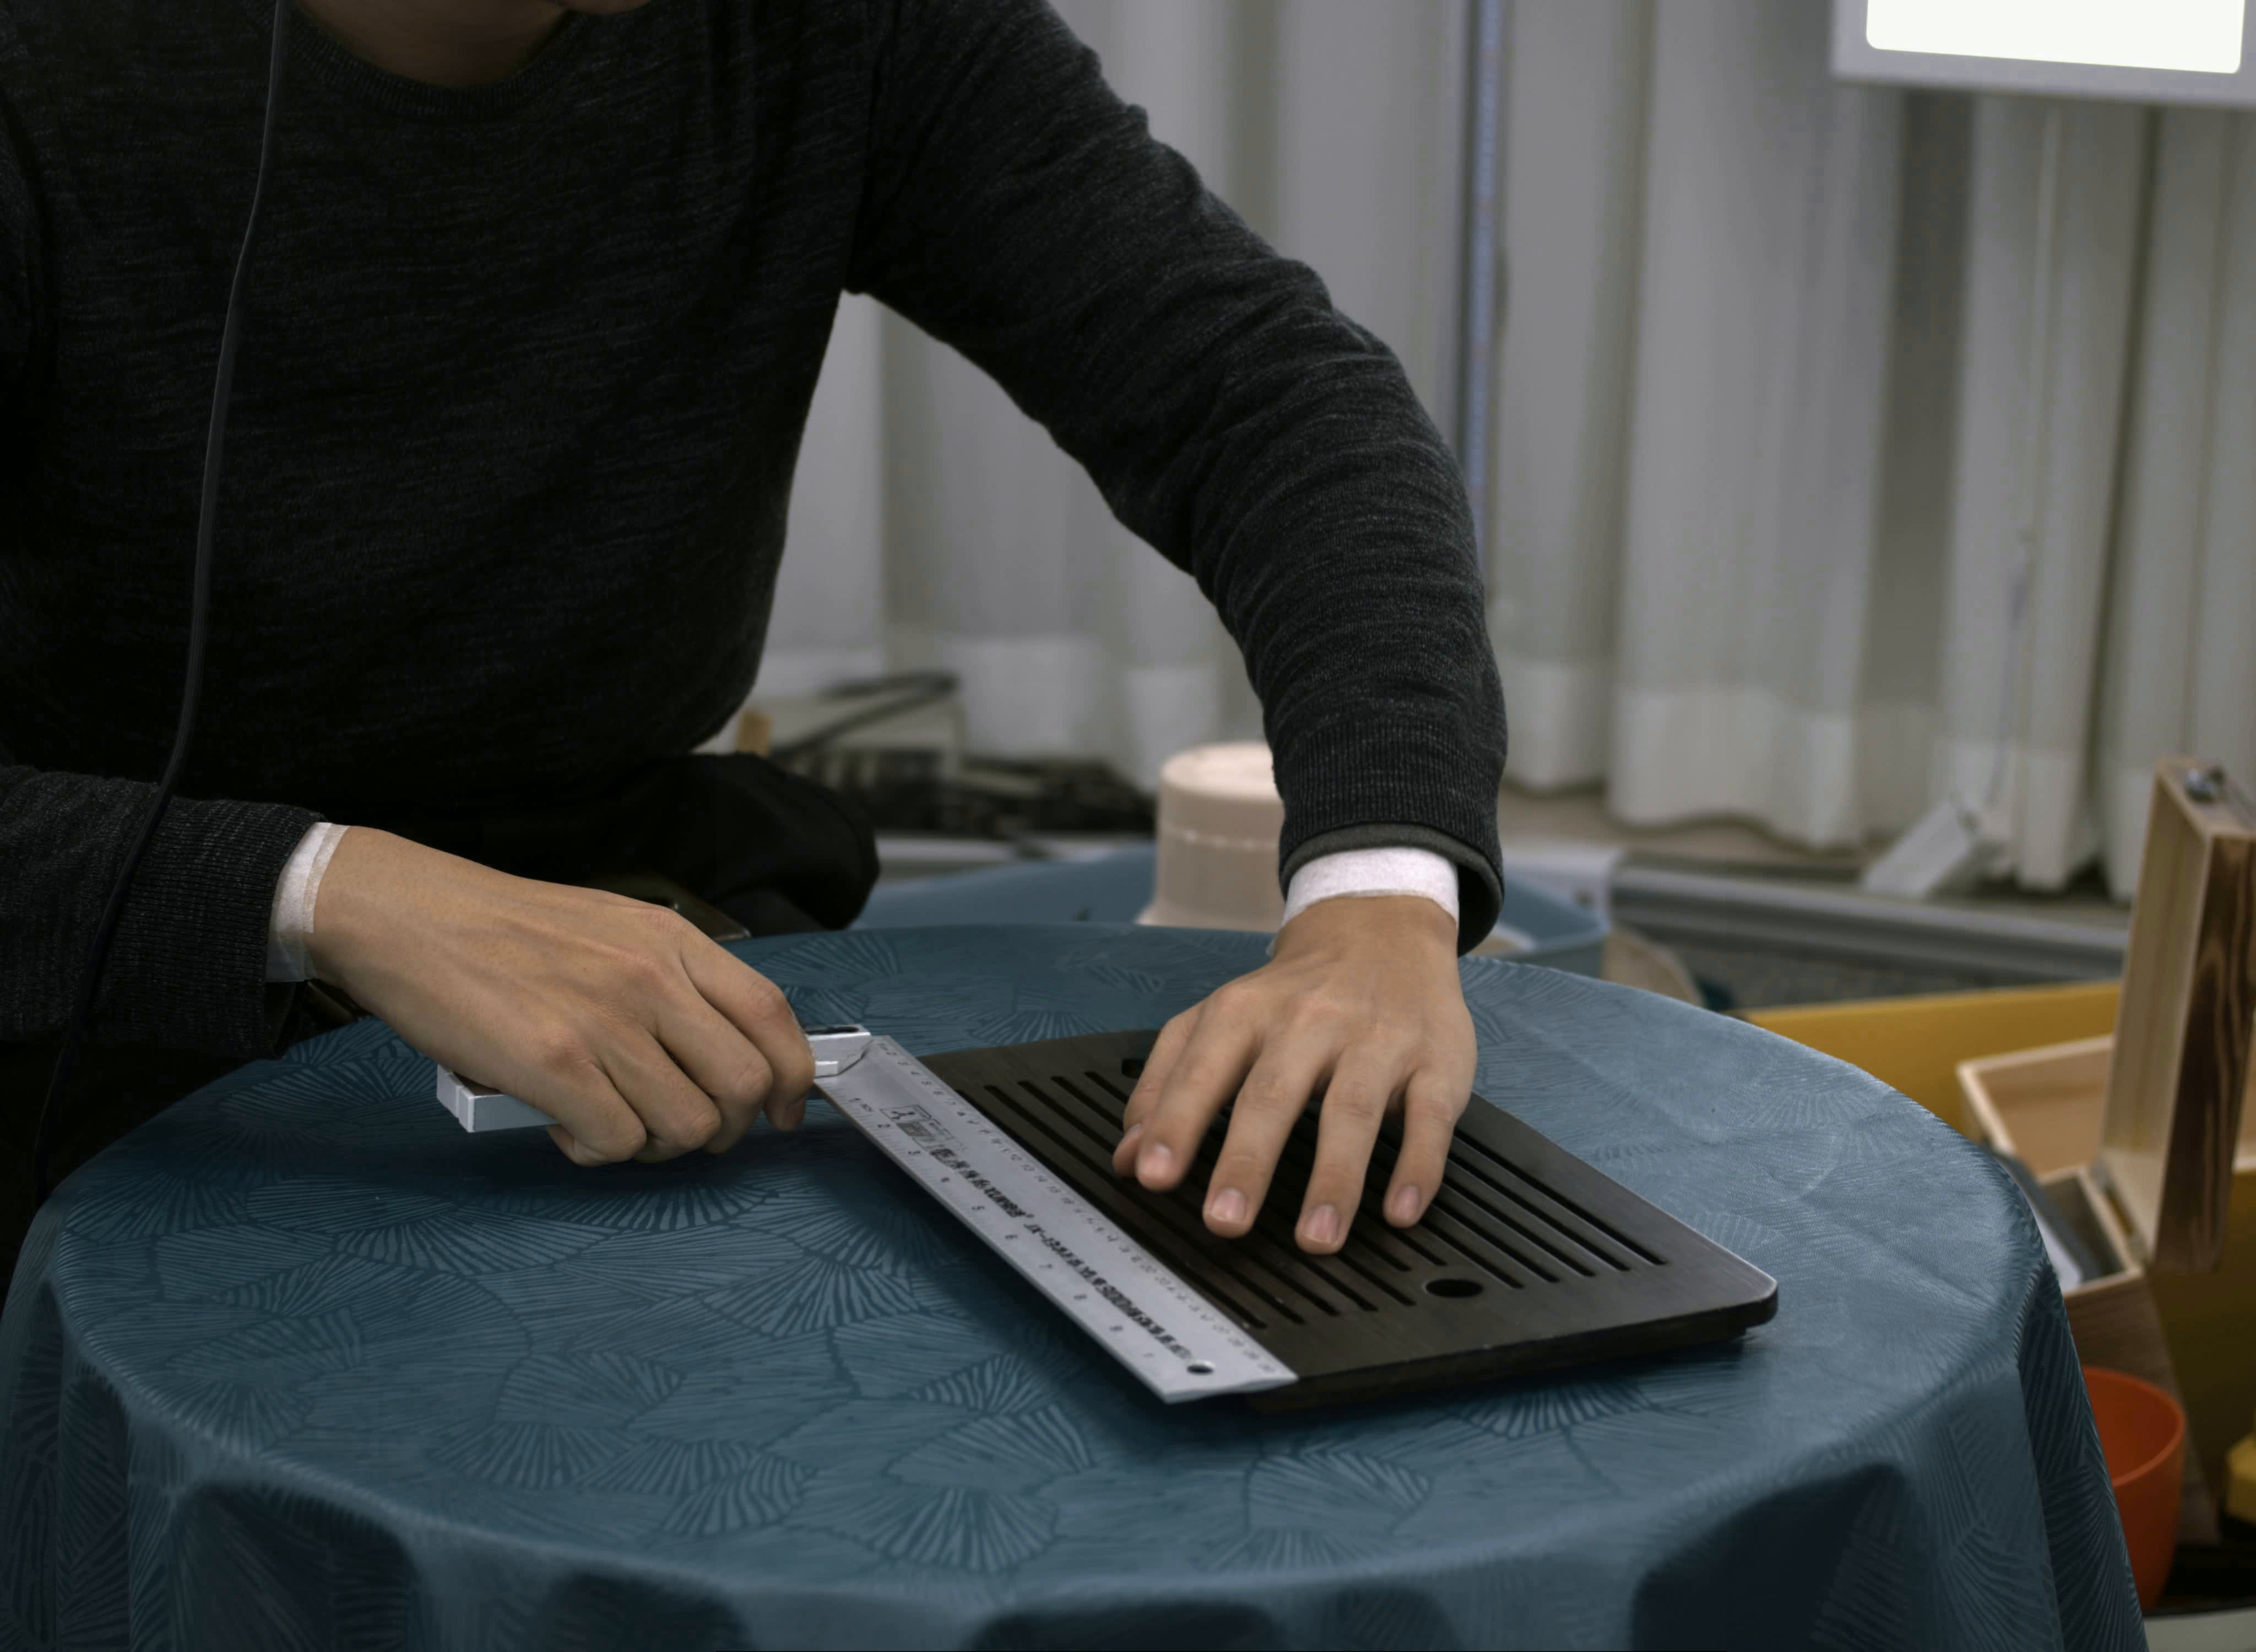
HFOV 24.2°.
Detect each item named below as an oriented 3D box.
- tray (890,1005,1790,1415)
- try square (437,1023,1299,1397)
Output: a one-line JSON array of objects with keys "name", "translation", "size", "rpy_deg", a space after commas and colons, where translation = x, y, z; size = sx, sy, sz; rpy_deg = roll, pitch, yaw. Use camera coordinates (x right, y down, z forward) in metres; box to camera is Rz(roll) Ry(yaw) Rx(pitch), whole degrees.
[{"name": "tray", "translation": [0.054, 0.112, 1.591], "size": [0.170, 0.019, 0.302], "rpy_deg": [-7, 17, -23]}, {"name": "try square", "translation": [-0.084, 0.111, 1.526], "size": [0.153, 0.016, 0.309], "rpy_deg": [-2, 16, -24]}]
